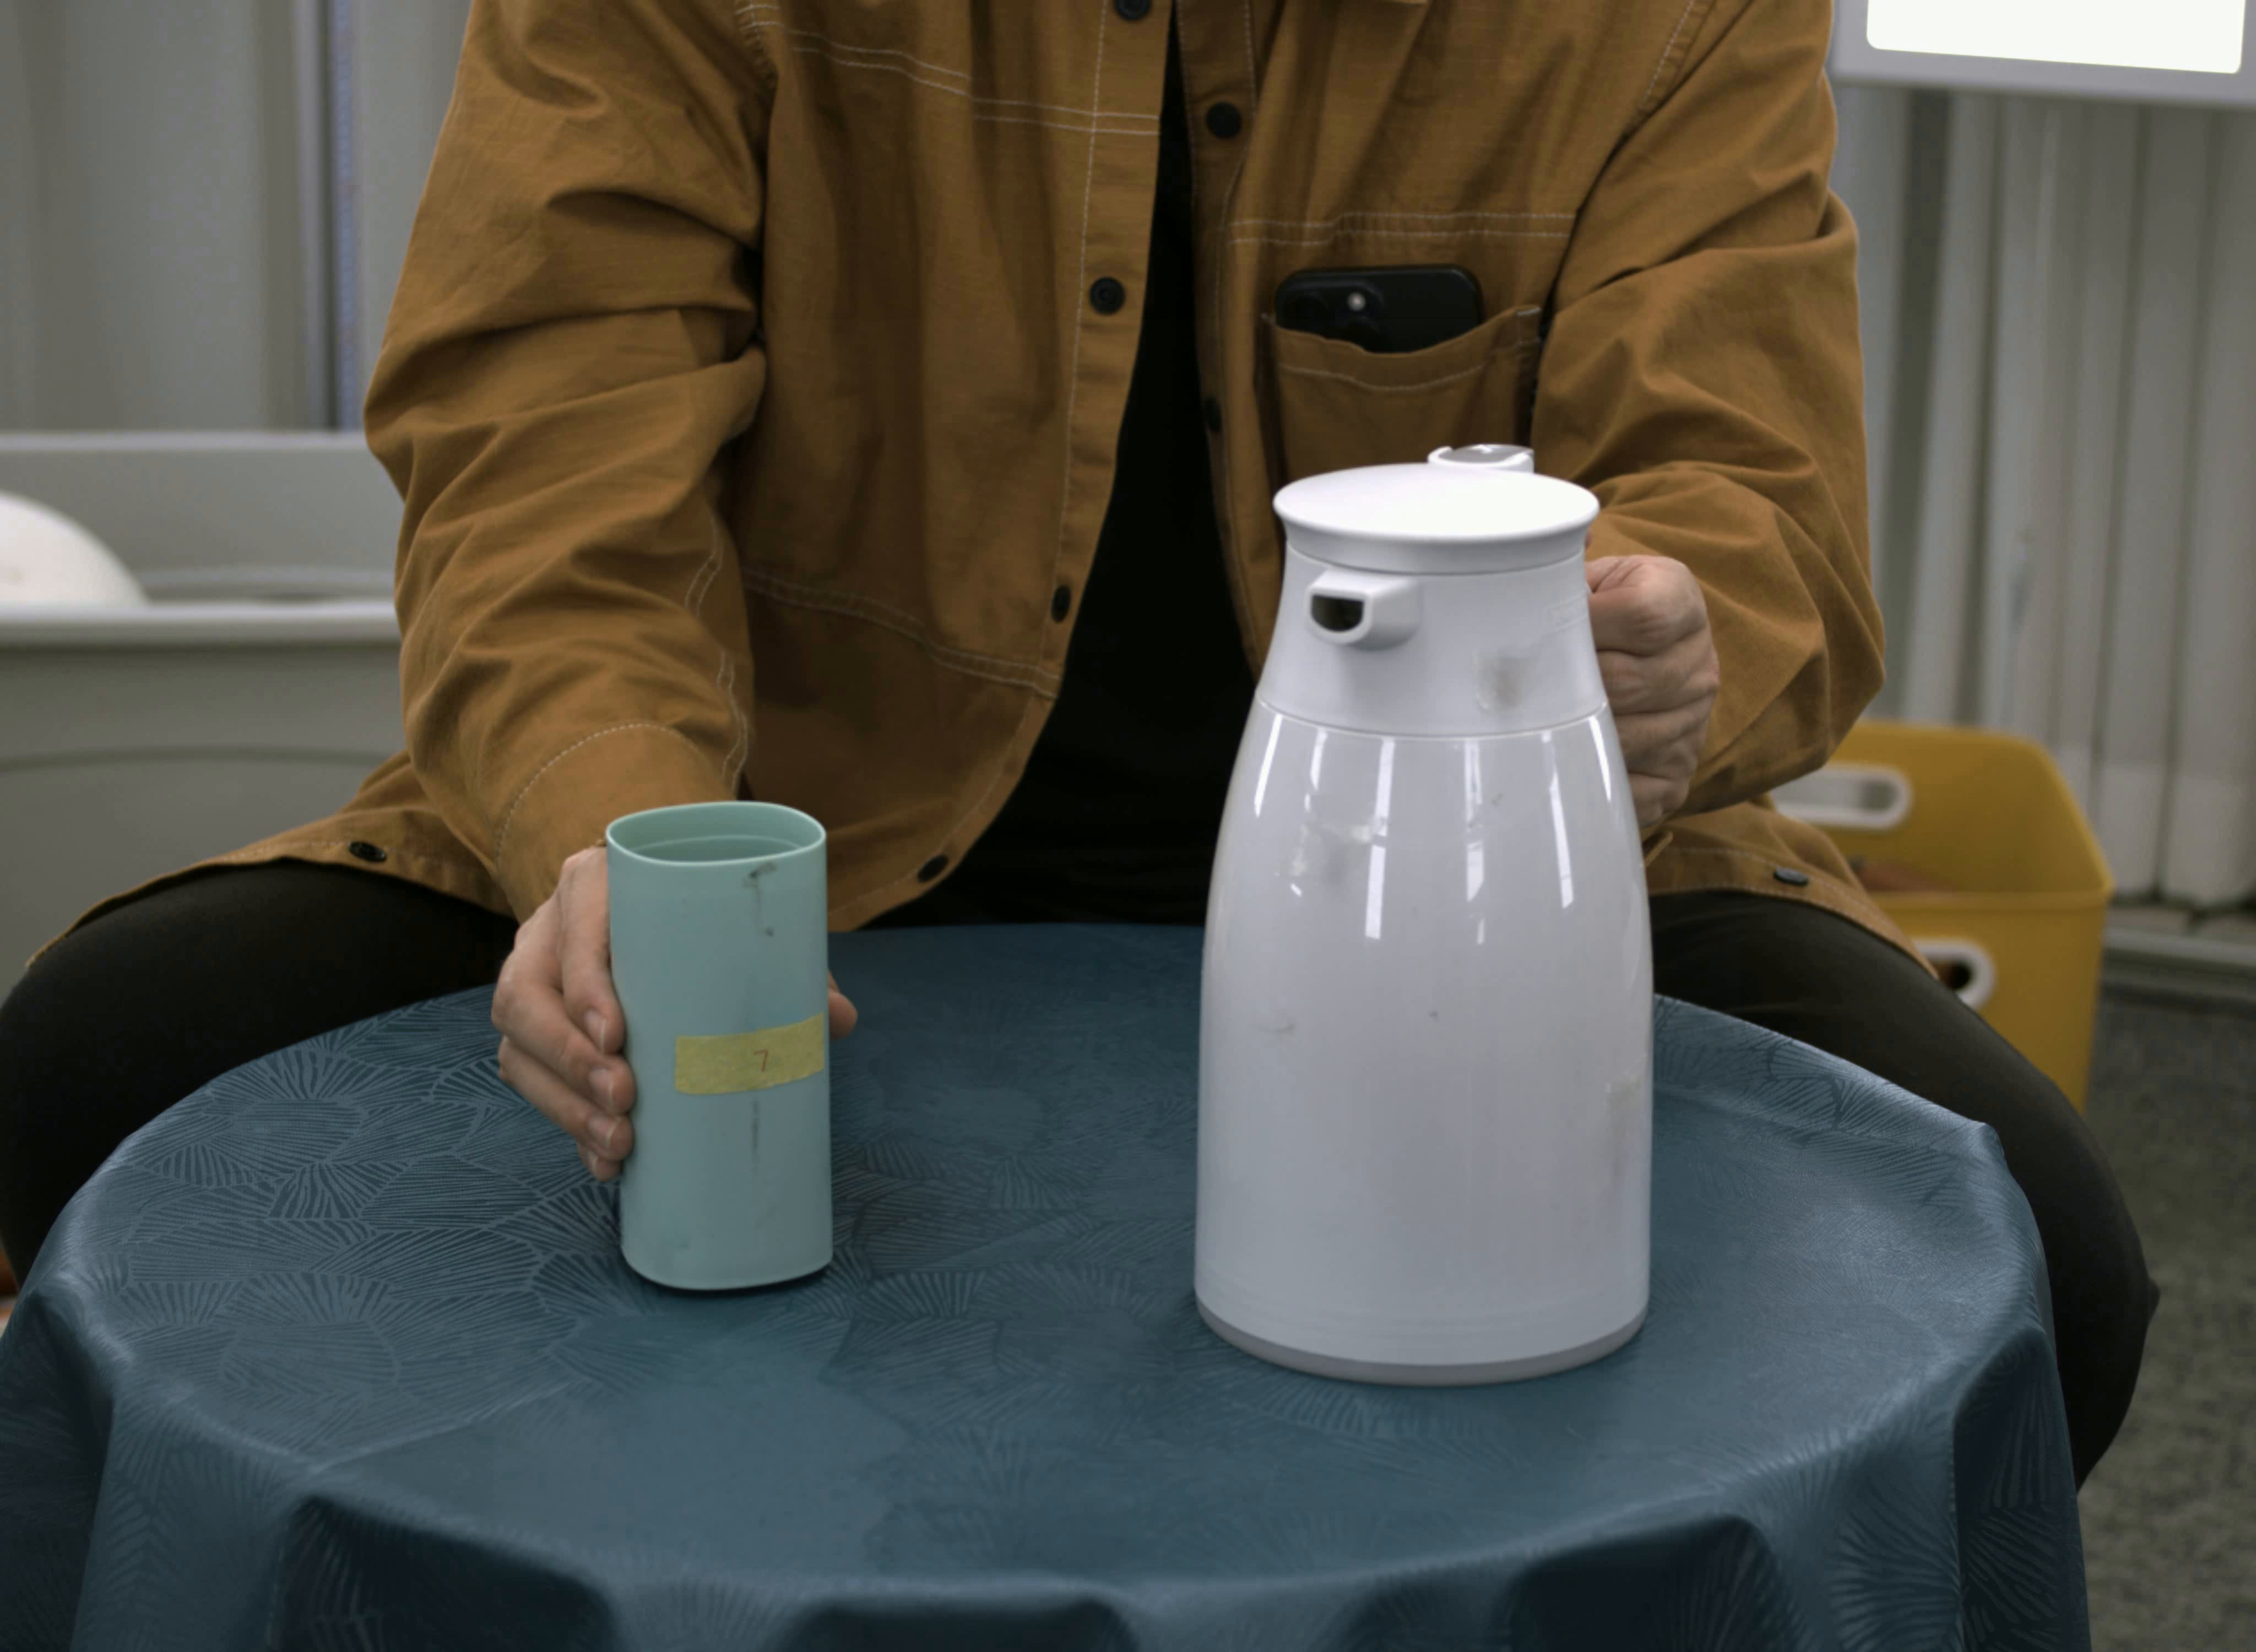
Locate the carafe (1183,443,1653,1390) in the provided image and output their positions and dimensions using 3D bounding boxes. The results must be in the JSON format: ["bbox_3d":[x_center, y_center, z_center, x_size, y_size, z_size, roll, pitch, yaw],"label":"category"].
[{"bbox_3d":[0.094,0.017,1.511,0.131,0.250,0.168,10,18,27],"label":"carafe"}]

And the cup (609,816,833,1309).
[{"bbox_3d":[-0.118,0.068,1.539,0.066,0.133,0.066,0,17,1],"label":"cup"}]
